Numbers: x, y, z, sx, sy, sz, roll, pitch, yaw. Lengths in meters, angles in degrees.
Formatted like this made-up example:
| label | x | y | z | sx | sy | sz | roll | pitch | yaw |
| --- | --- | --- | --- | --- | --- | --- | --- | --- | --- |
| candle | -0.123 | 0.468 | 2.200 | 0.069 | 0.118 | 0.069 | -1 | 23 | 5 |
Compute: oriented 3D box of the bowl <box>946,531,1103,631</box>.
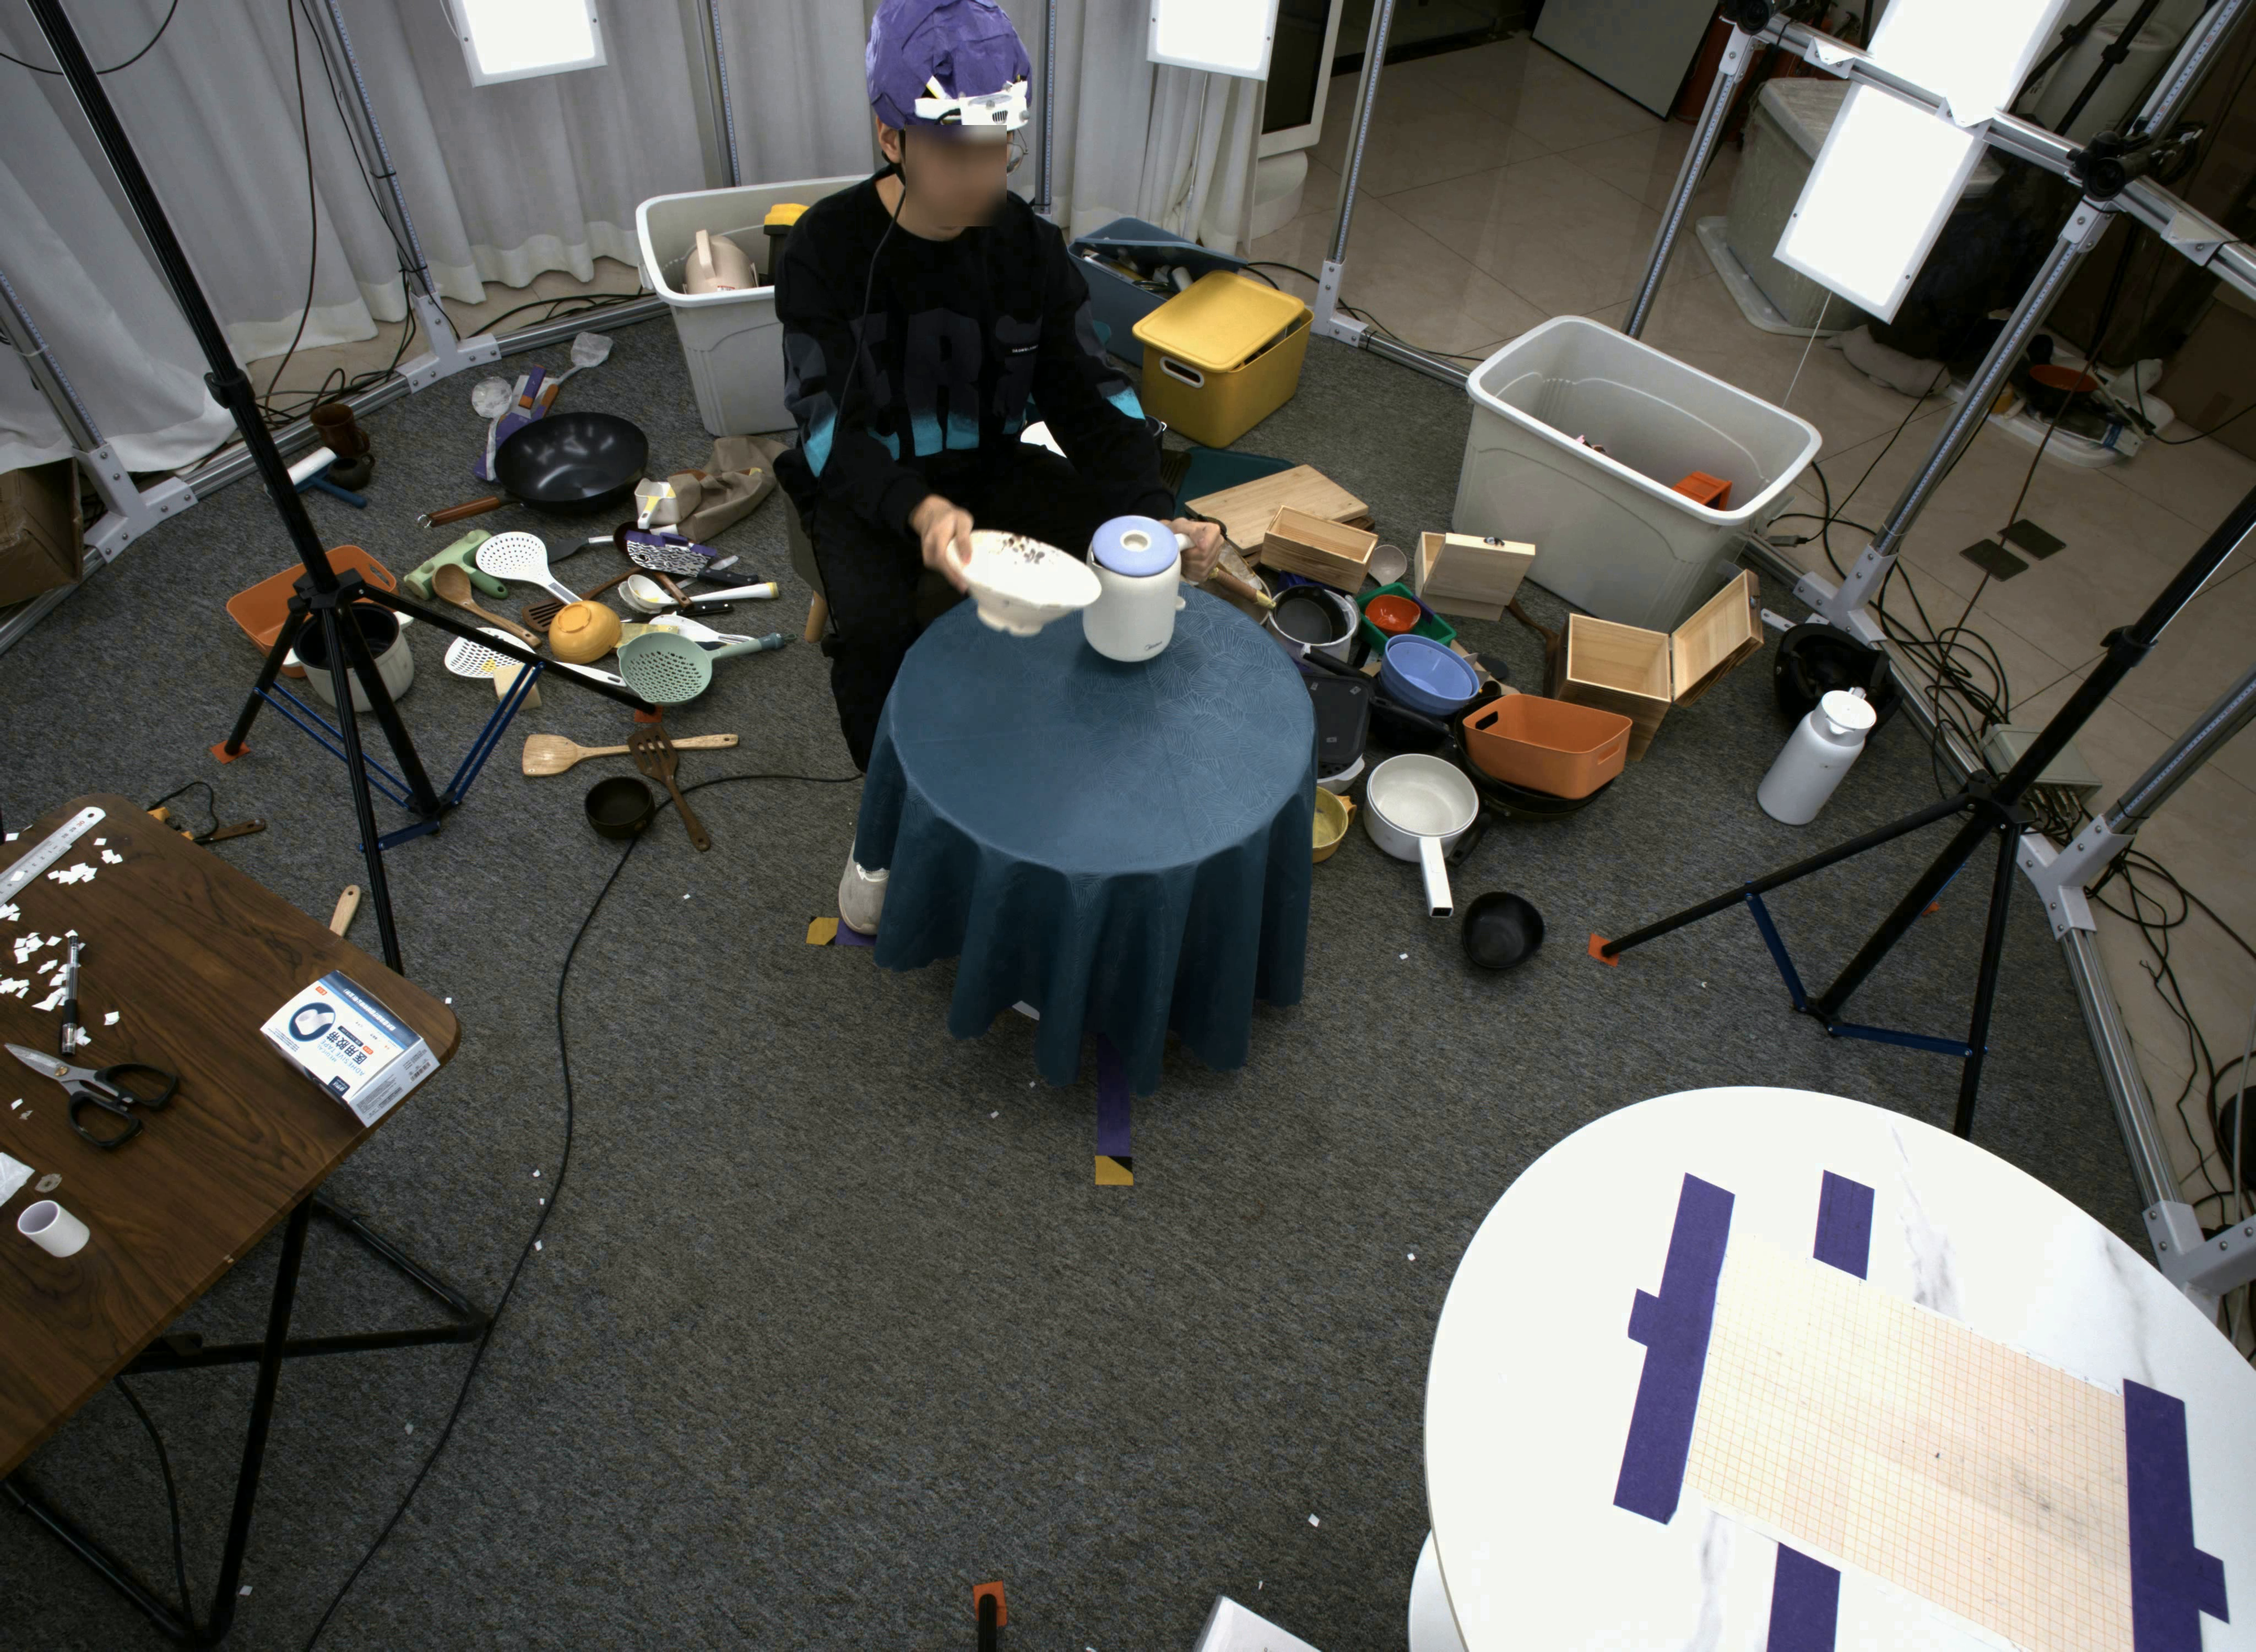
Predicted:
| label | x | y | z | sx | sy | sz | roll | pitch | yaw |
| --- | --- | --- | --- | --- | --- | --- | --- | --- | --- |
| bowl | -0.139 | -0.301 | 1.639 | 0.203 | 0.077 | 0.208 | 15 | 25 | -7 |

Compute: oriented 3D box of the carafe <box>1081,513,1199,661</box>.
| label | x | y | z | sx | sy | sz | roll | pitch | yaw |
| --- | --- | --- | --- | --- | --- | --- | --- | --- | --- |
| carafe | 0.024 | -0.345 | 1.819 | 0.192 | 0.178 | 0.135 | -25 | 60 | -24 |
